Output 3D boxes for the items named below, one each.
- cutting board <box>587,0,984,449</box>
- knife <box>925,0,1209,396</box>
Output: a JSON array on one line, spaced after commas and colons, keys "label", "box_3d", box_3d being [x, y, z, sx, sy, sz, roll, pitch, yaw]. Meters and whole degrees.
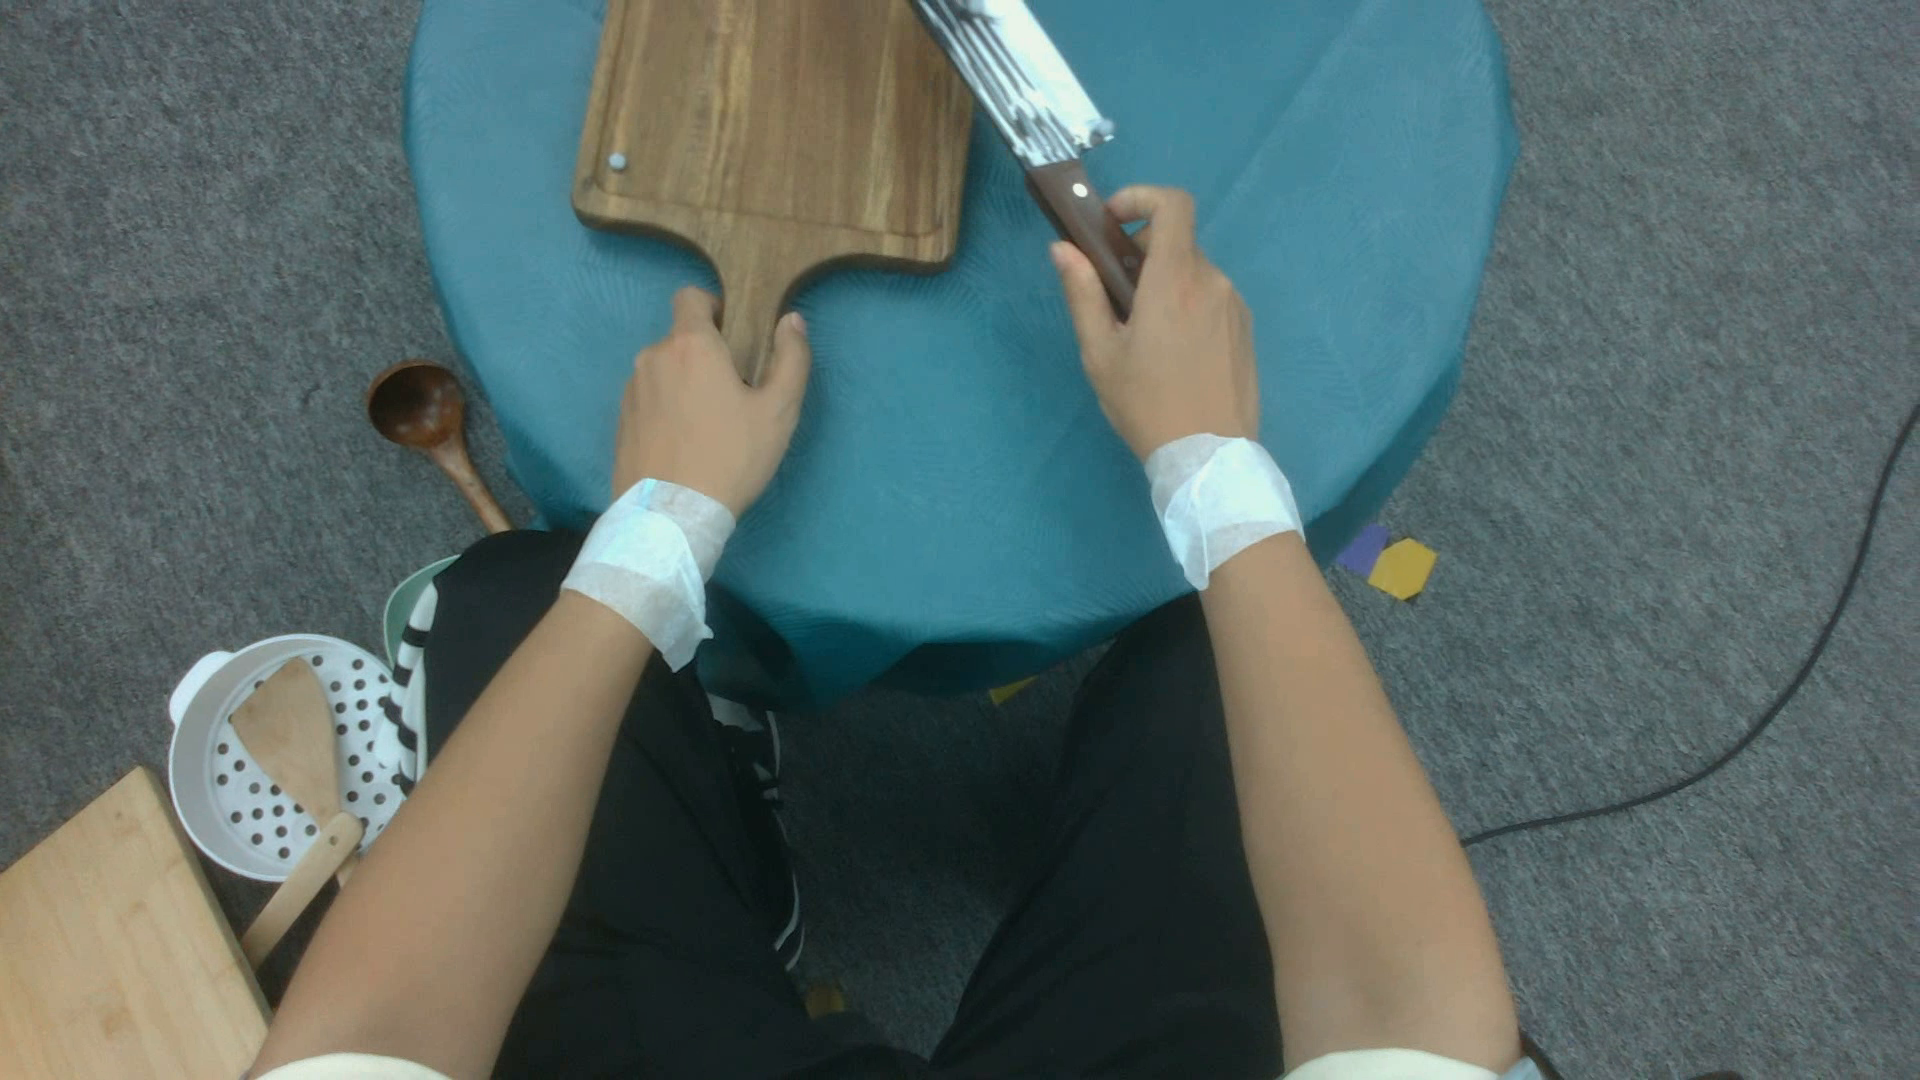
[{"label": "cutting board", "box_3d": [-0.093, -0.220, 0.744, 0.201, 0.023, 0.353, 6, 77, -3]}, {"label": "knife", "box_3d": [0.053, -0.209, 0.703, 0.068, 0.024, 0.299, -29, 85, -35]}]
